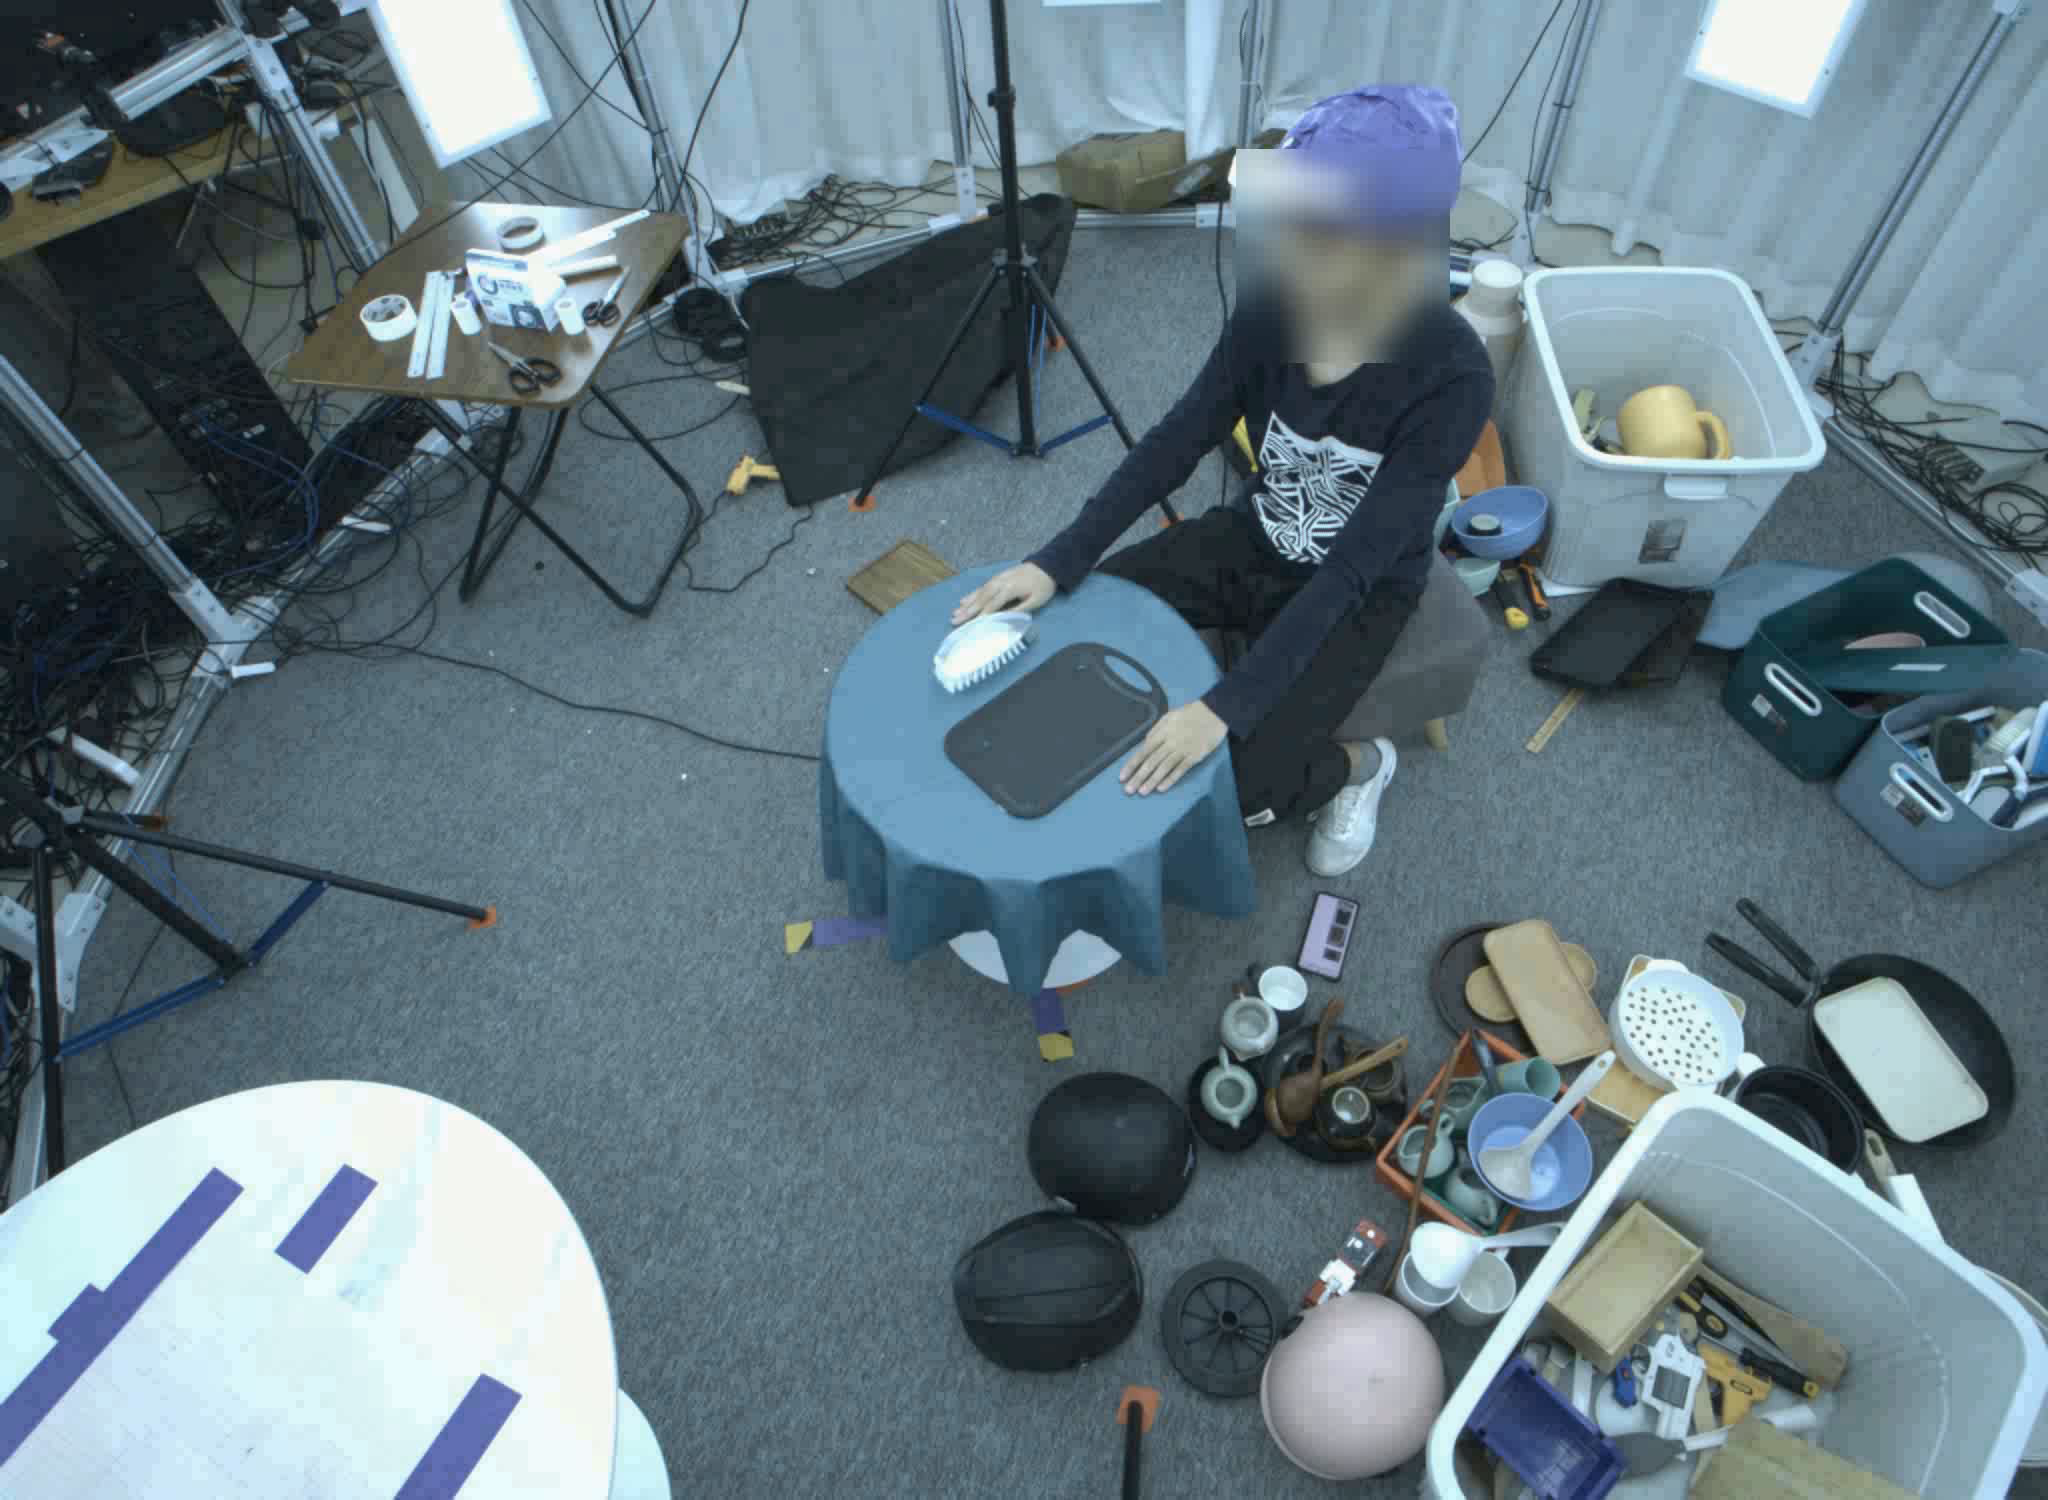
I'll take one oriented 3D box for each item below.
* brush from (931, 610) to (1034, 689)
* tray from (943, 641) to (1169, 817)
[{"bbox_3d":[-0.059,-0.169,1.846,0.177,0.095,0.060,-29,58,-19],"label":"brush"},{"bbox_3d":[0.053,-0.043,1.804,0.328,0.010,0.207,-36,61,-22],"label":"tray"}]
